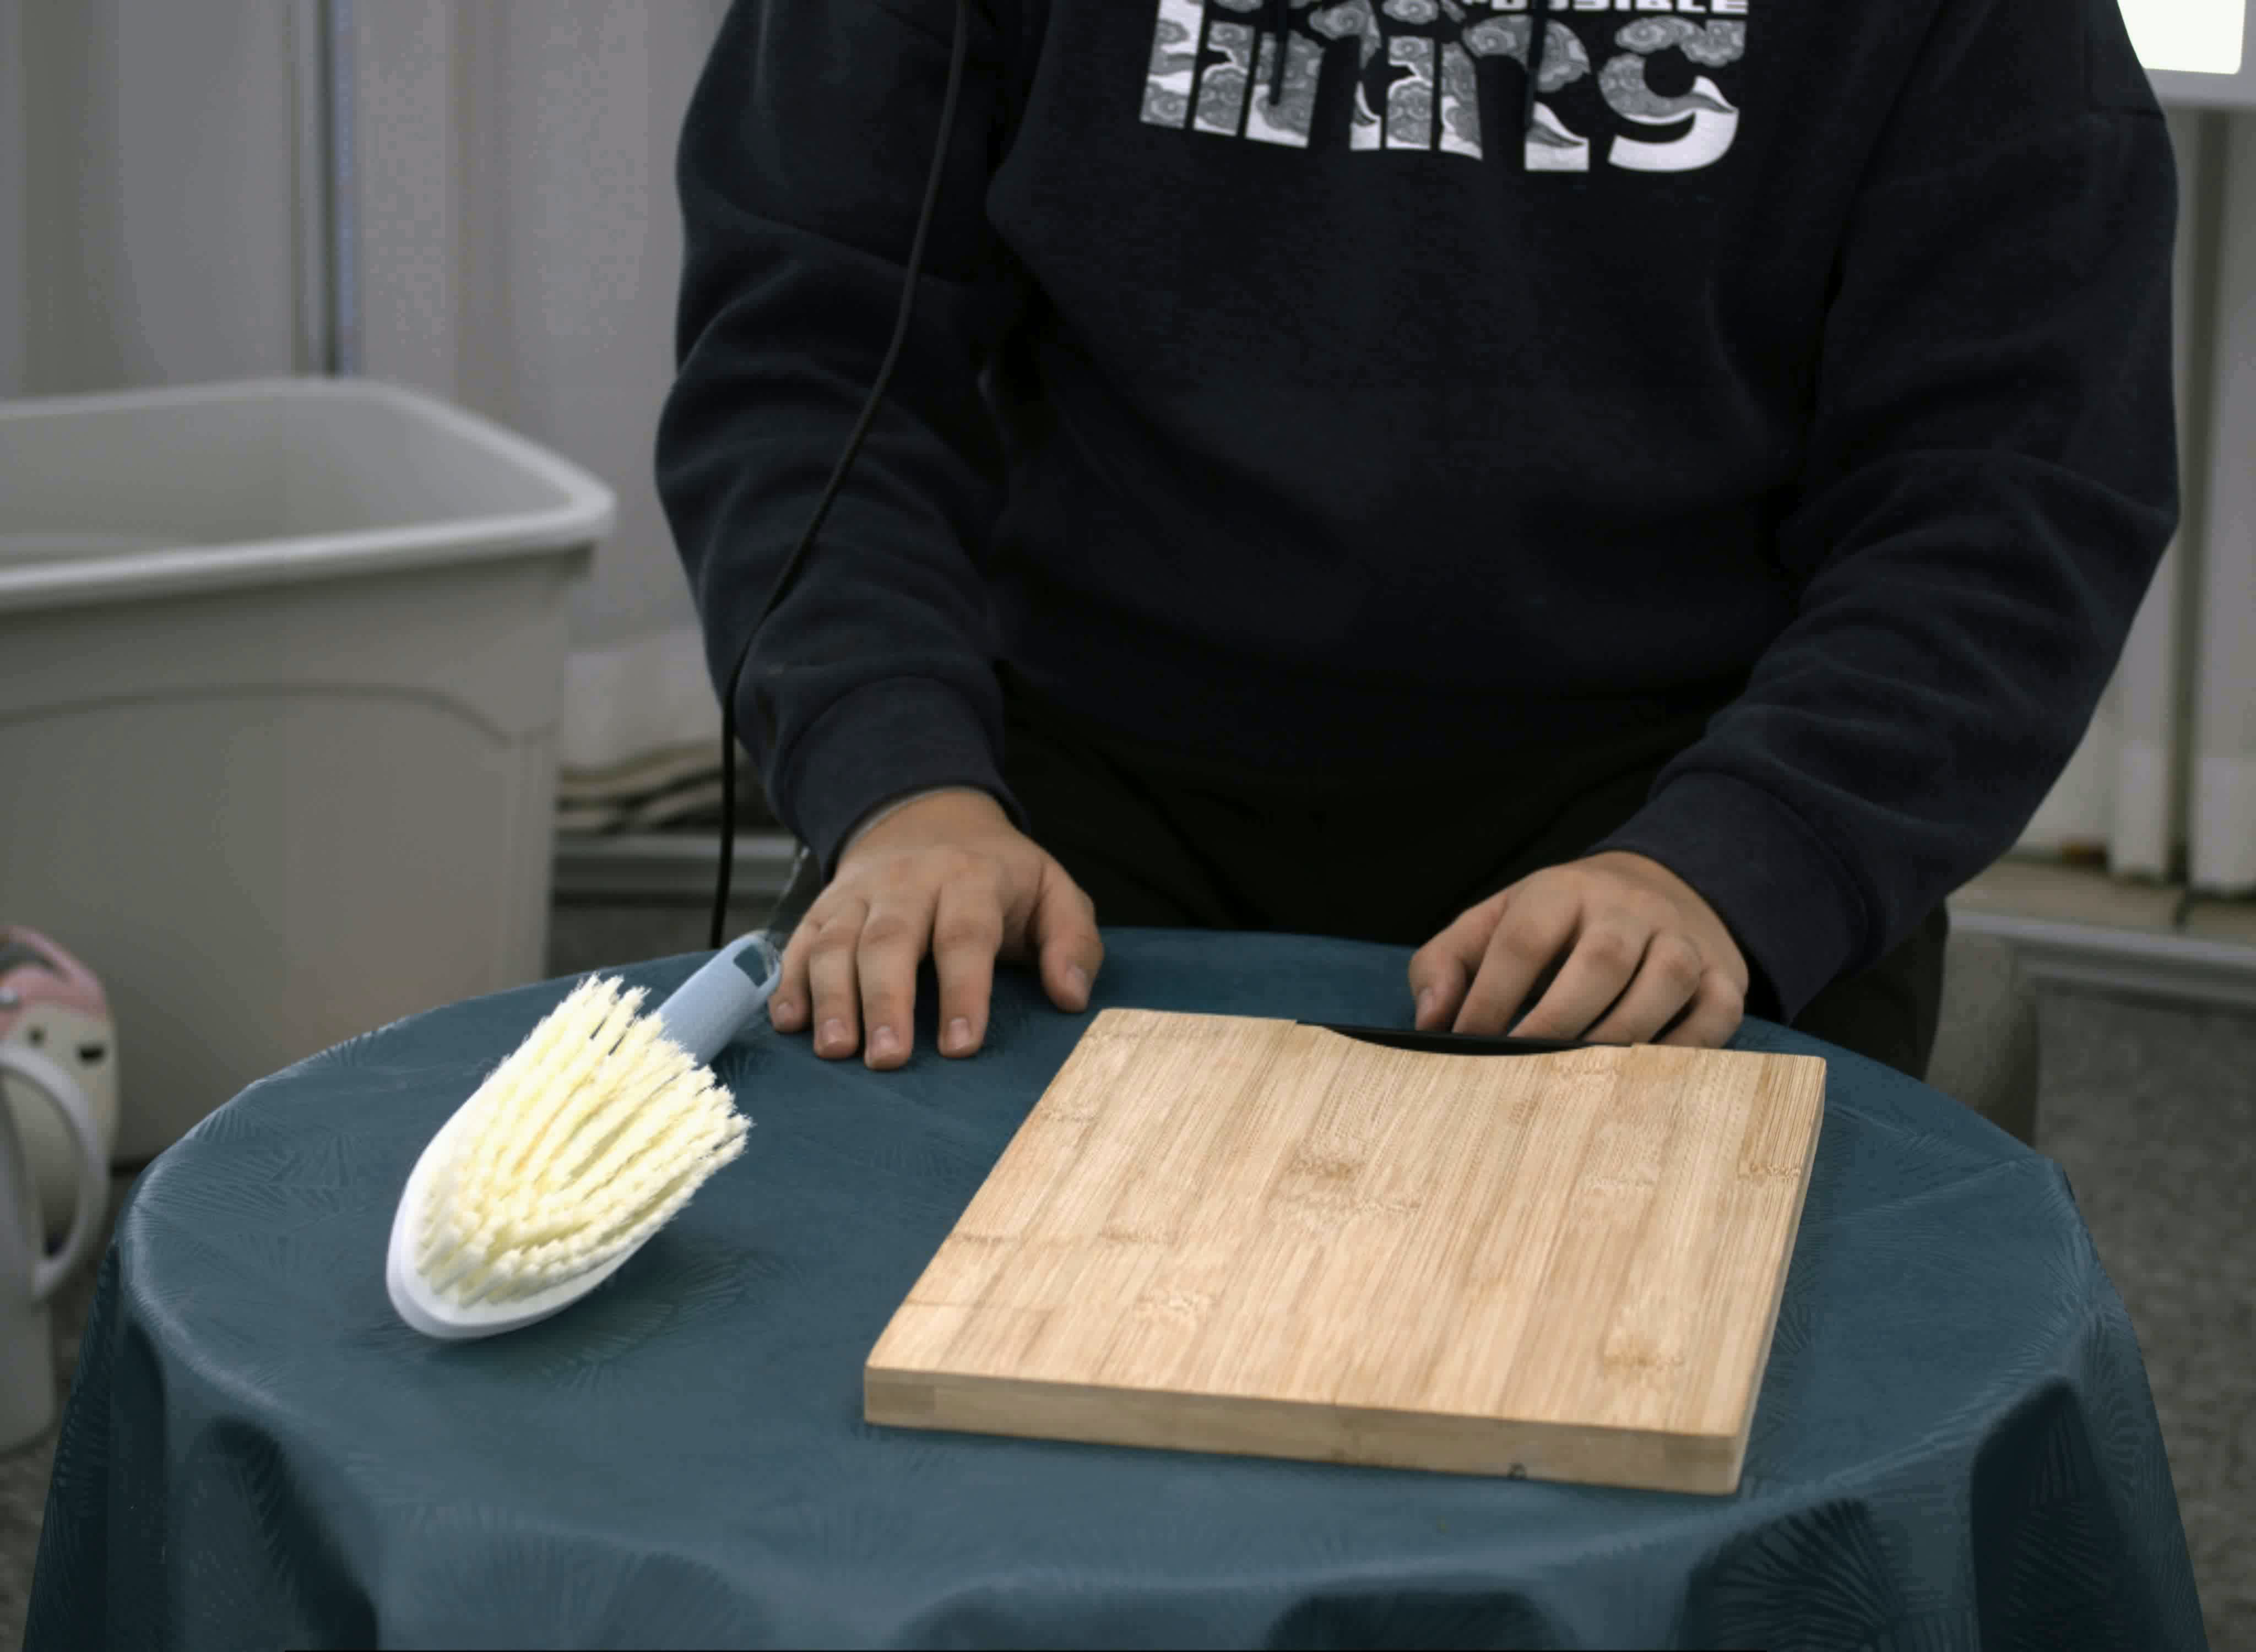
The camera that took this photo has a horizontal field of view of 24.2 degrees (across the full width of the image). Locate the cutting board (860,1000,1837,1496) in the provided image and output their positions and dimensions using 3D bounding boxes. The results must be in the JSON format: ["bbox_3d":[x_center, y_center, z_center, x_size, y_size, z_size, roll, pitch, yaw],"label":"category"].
[{"bbox_3d":[0.078,0.118,1.579,0.249,0.024,0.348,4,16,9],"label":"cutting board"}]

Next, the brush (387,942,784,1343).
[{"bbox_3d":[-0.145,0.069,1.619,0.084,0.084,0.325,-4,15,15],"label":"brush"}]
